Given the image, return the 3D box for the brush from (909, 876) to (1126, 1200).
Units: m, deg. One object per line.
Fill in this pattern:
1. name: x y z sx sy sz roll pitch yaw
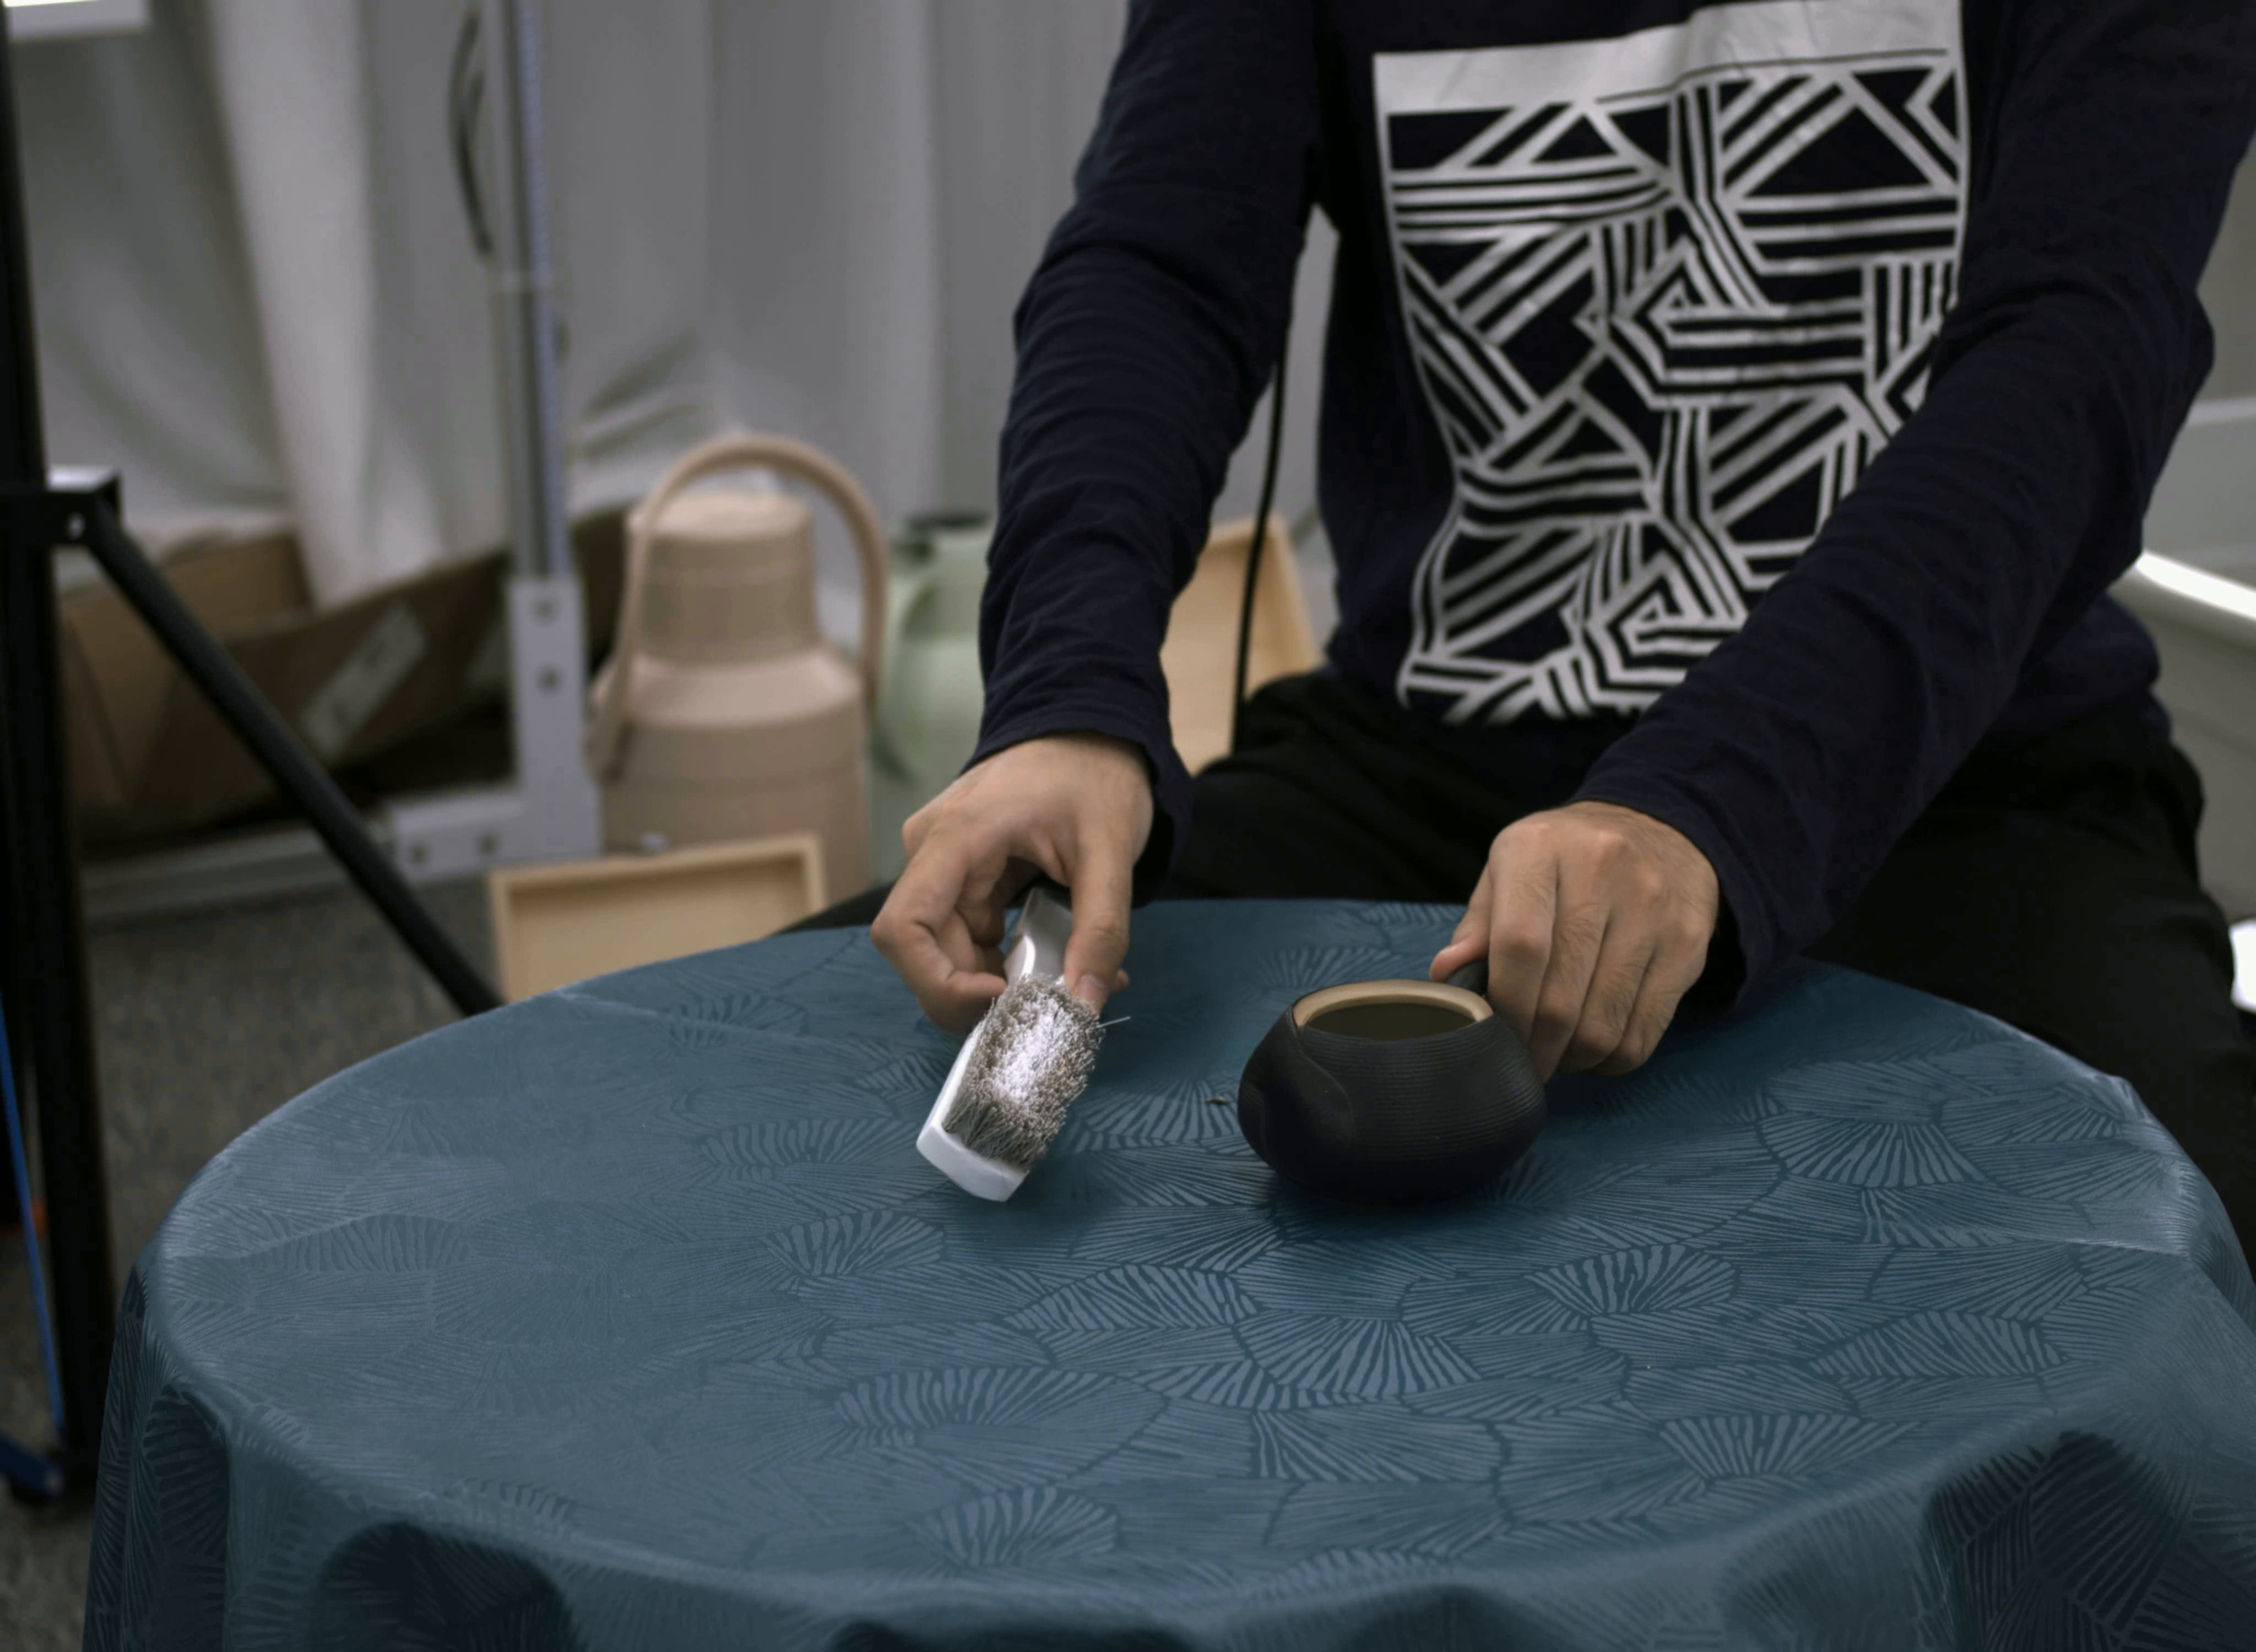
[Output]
1. brush: -0.022 0.048 1.646 0.034 0.050 0.243 29 23 0

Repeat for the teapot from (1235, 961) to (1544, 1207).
1. teapot: 0.078 0.078 1.556 0.093 0.053 0.130 12 21 34
